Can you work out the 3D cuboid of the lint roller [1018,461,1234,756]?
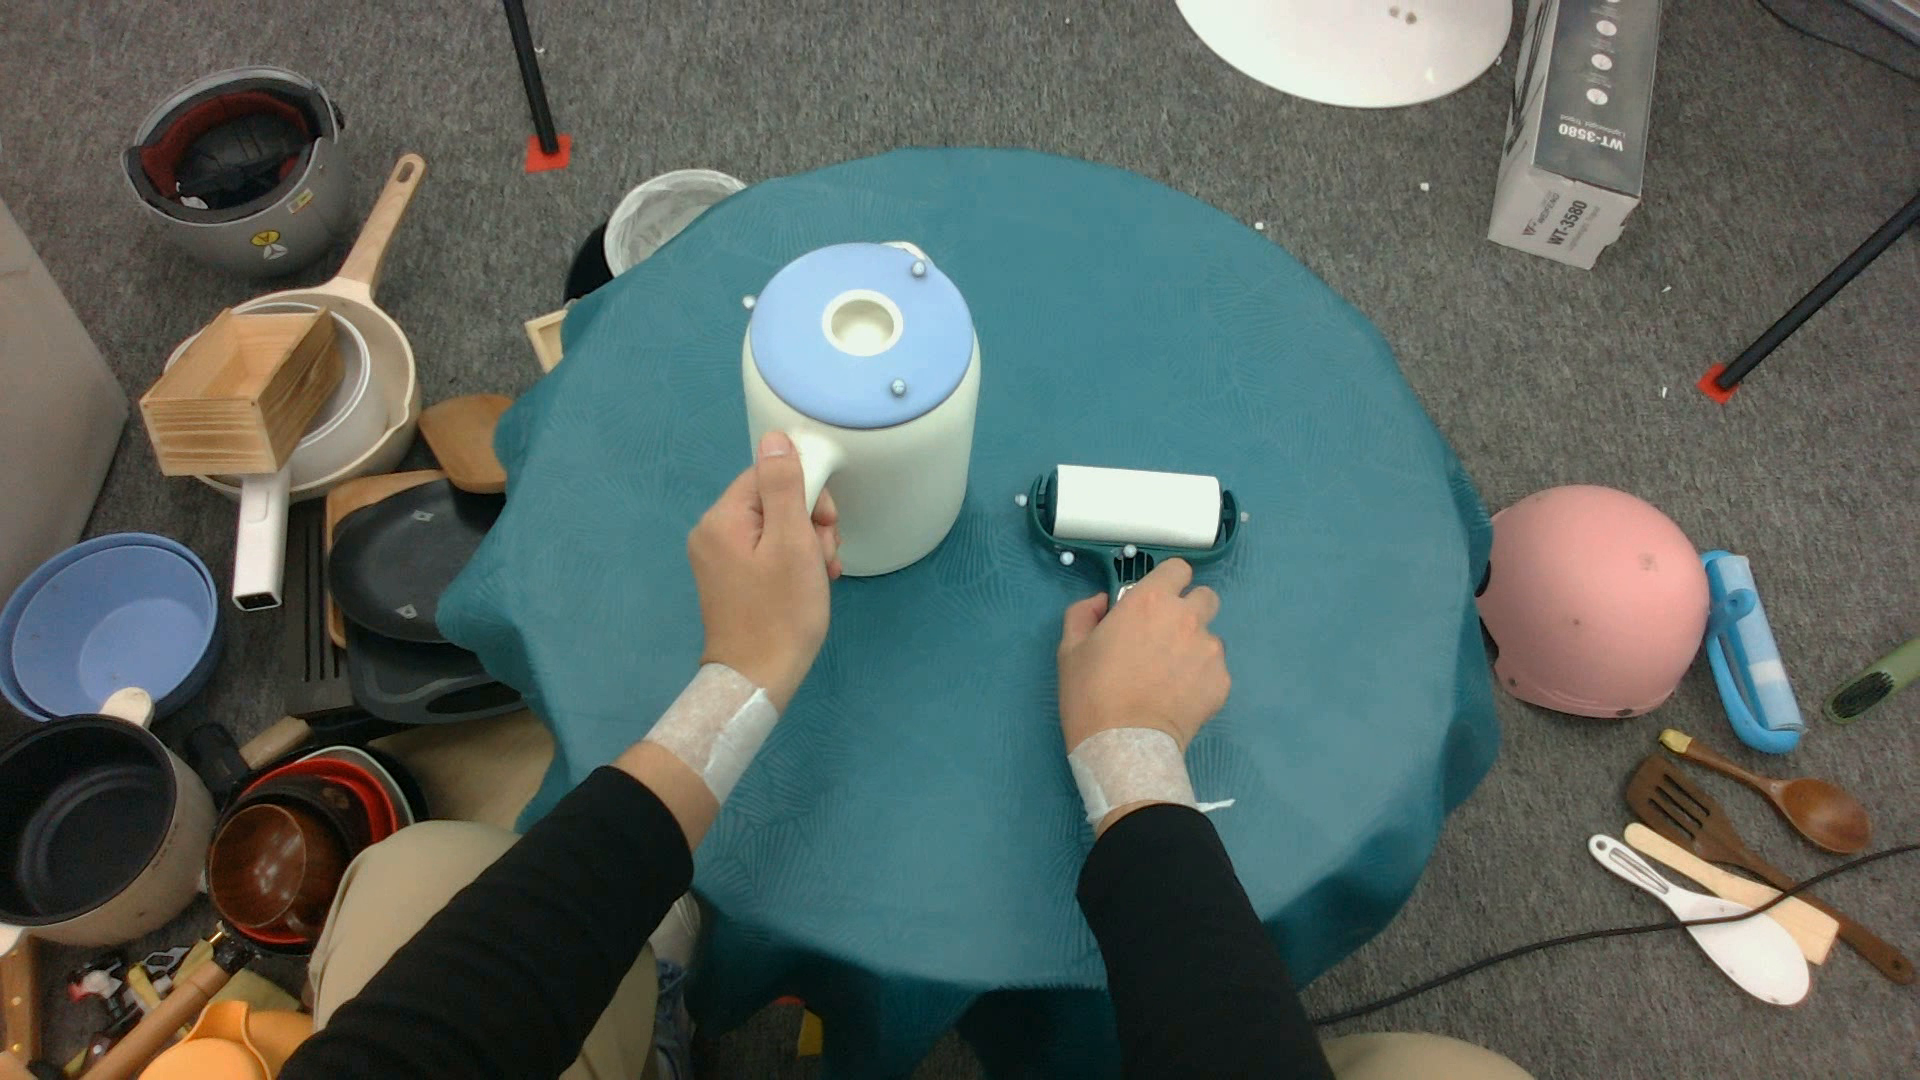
[{"bbox_3d":[0.098,0.036,0.818,0.134,0.048,0.181,4,60,-2],"label":"lint roller"}]

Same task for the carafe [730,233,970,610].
[{"bbox_3d":[-0.071,-0.054,0.785,0.132,0.182,0.192,18,64,5],"label":"carafe"}]
